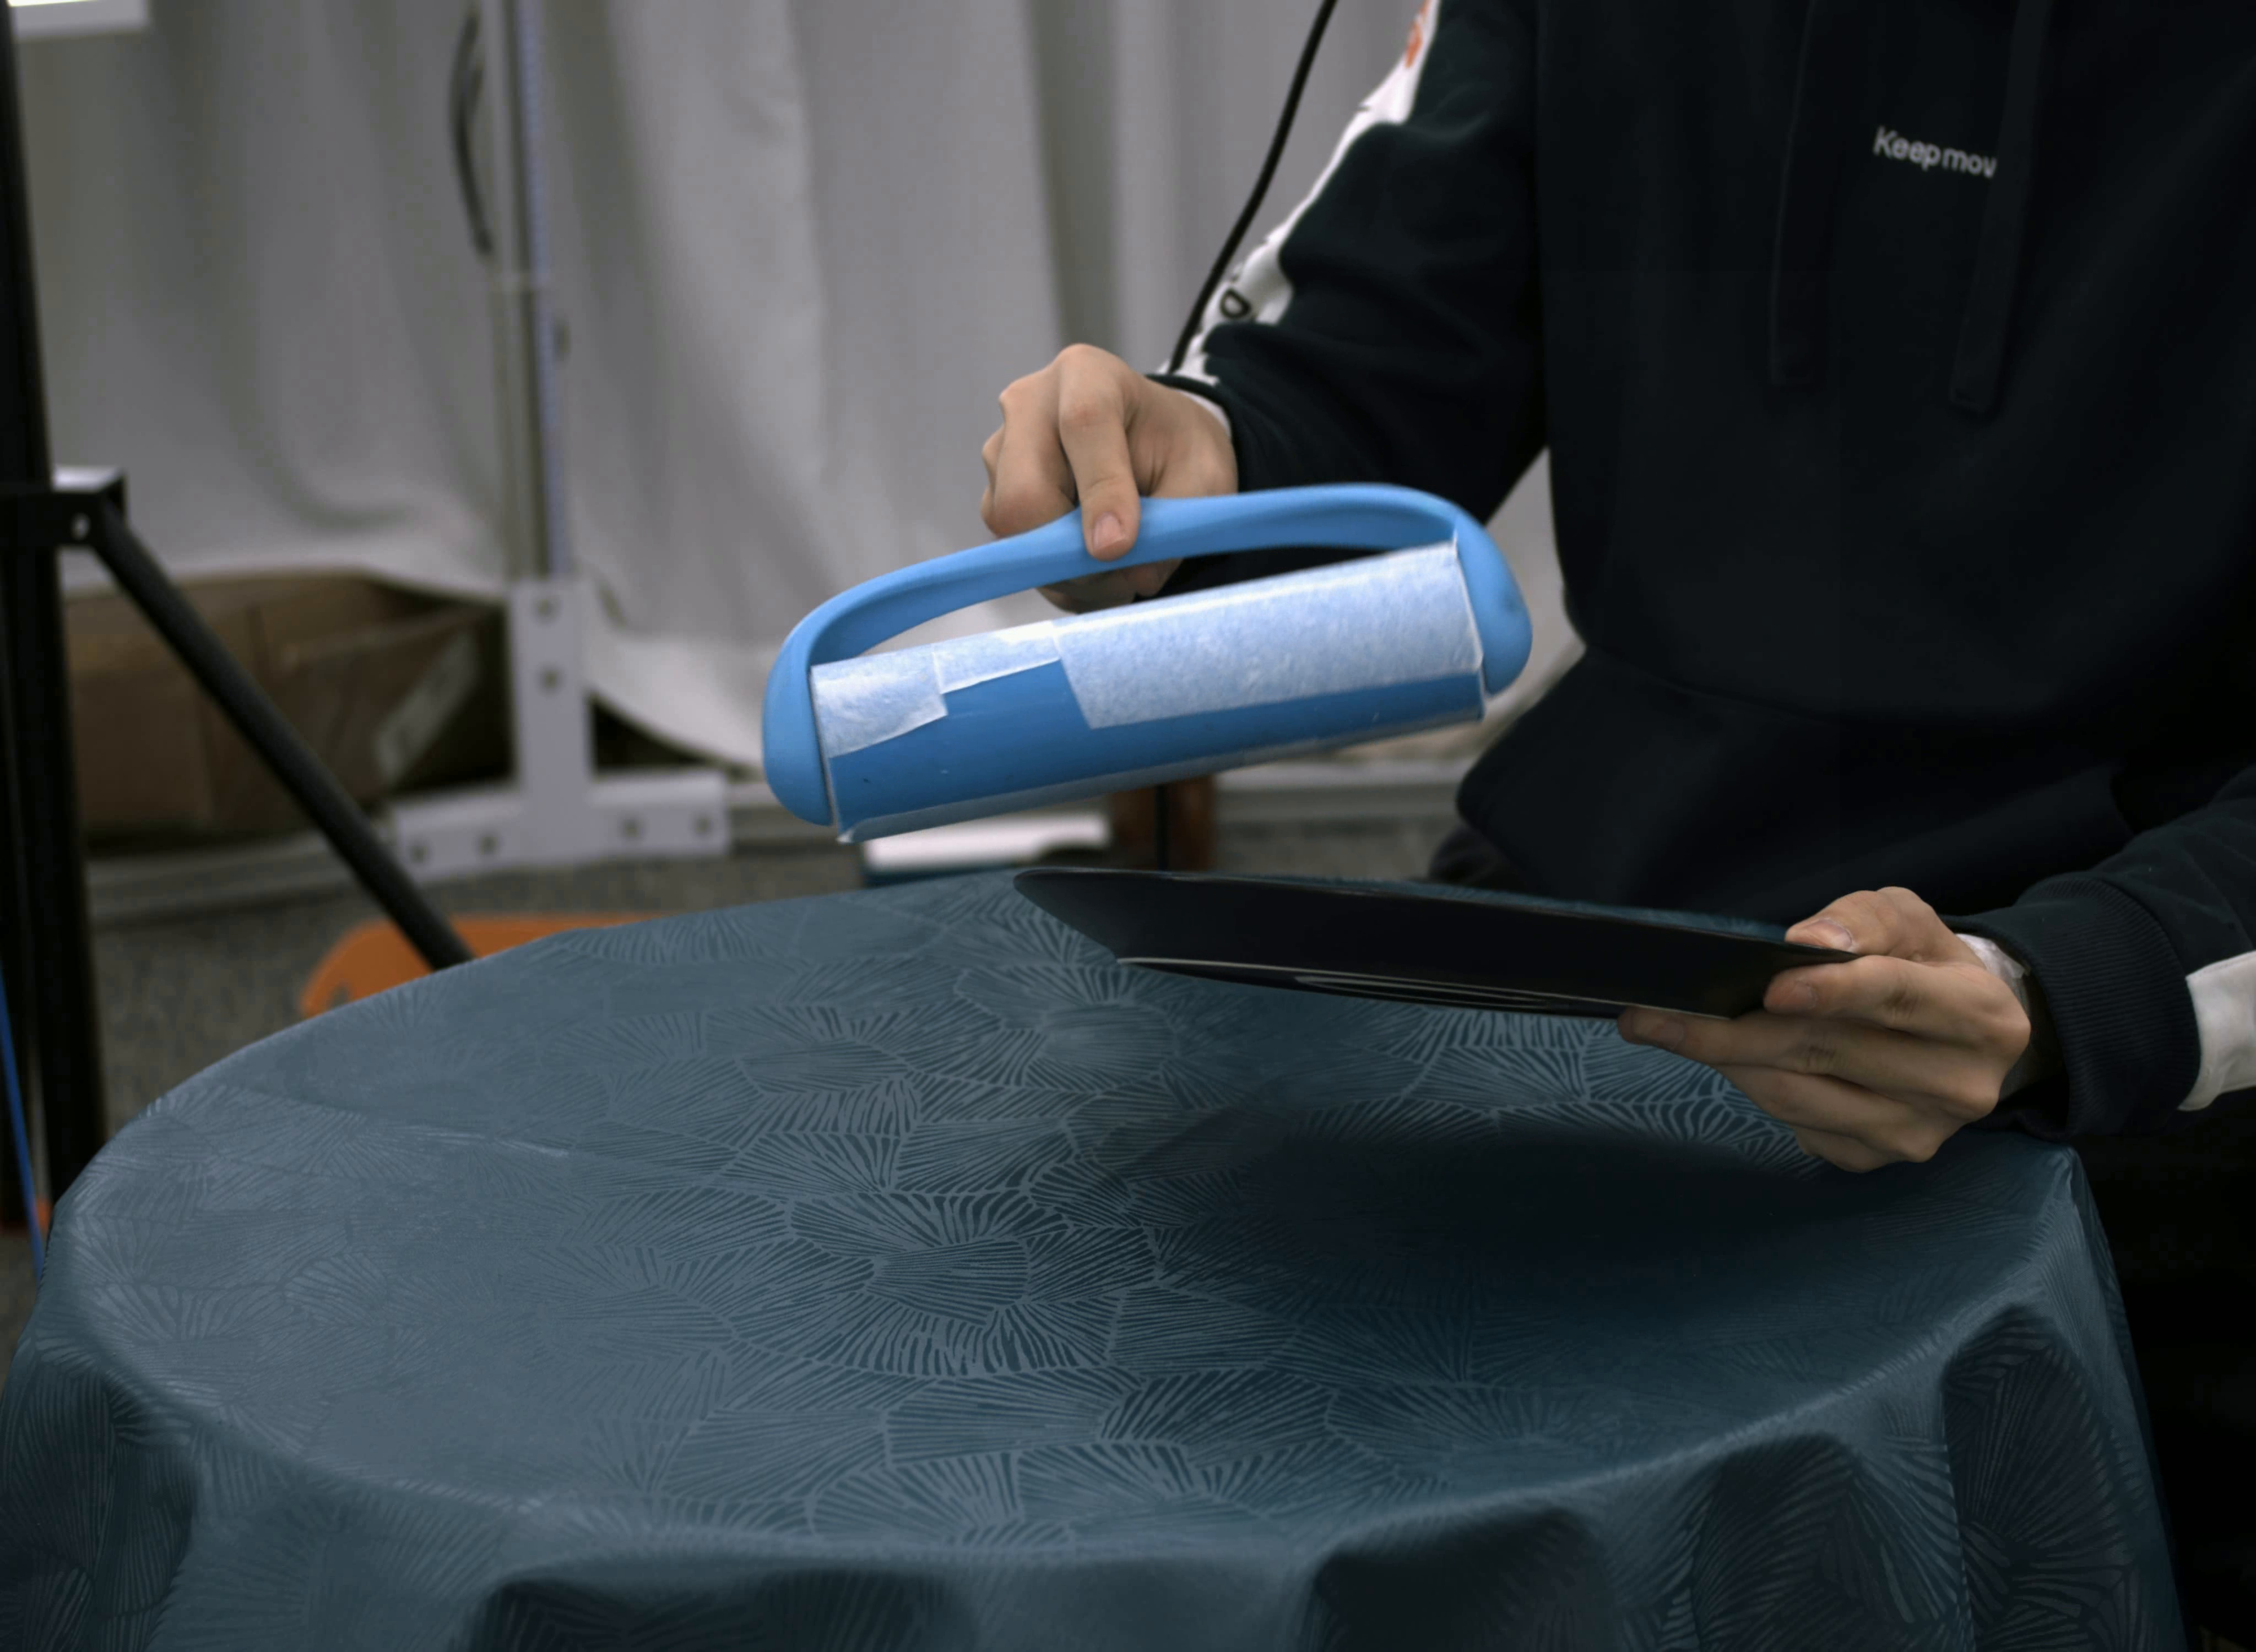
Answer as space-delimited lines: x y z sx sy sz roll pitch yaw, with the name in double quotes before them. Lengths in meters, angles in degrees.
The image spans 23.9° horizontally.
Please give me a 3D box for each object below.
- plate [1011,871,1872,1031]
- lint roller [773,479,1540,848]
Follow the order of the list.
"plate" 0.087 0.037 1.493 0.243 0.023 0.244 7 -4 -1
"lint roller" -0.001 -0.066 1.610 0.227 0.067 0.182 -15 26 -2
